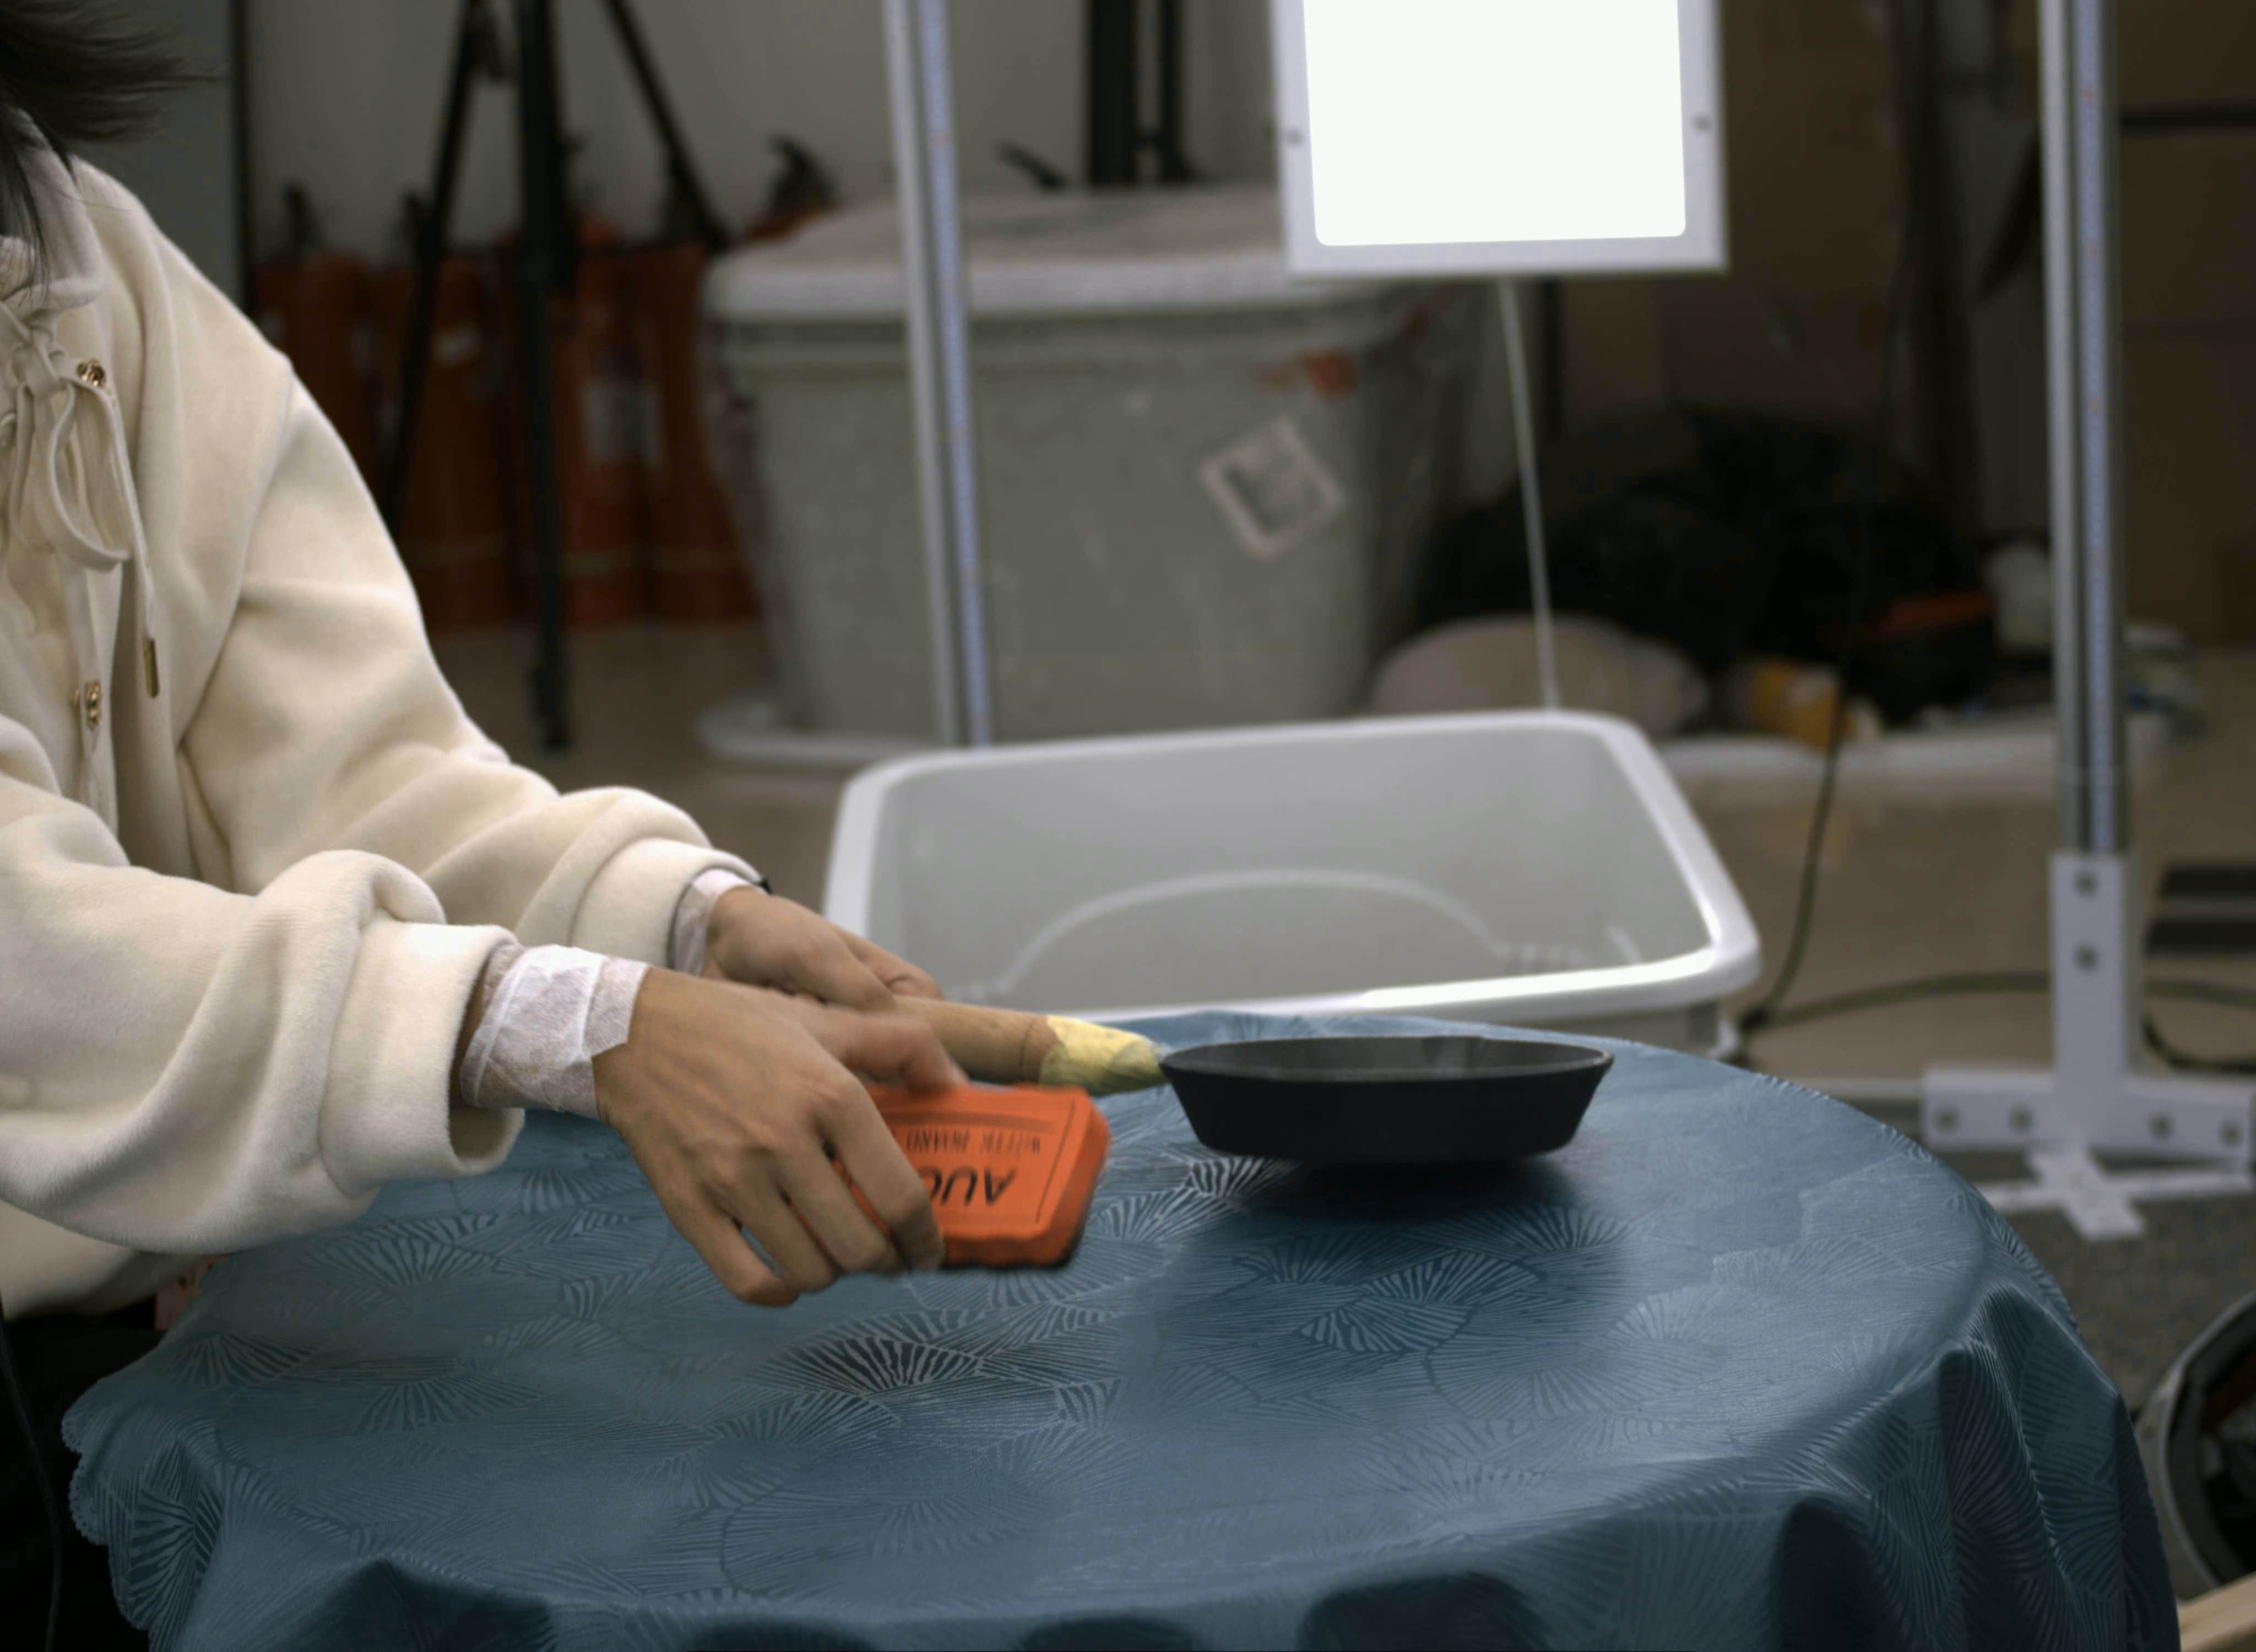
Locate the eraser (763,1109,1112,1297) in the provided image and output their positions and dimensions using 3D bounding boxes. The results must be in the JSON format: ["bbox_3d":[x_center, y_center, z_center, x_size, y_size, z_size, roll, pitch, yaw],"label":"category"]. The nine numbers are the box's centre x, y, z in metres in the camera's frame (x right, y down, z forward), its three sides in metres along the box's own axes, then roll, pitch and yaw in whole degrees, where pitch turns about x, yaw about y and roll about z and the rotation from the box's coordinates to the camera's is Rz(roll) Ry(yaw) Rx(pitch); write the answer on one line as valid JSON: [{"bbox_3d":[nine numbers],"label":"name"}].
[{"bbox_3d":[-0.060,0.119,1.745,0.110,0.022,0.058,-3,51,32],"label":"eraser"}]

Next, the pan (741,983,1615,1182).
[{"bbox_3d":[0.012,0.086,1.917,0.329,0.050,0.165,2,6,26],"label":"pan"}]
